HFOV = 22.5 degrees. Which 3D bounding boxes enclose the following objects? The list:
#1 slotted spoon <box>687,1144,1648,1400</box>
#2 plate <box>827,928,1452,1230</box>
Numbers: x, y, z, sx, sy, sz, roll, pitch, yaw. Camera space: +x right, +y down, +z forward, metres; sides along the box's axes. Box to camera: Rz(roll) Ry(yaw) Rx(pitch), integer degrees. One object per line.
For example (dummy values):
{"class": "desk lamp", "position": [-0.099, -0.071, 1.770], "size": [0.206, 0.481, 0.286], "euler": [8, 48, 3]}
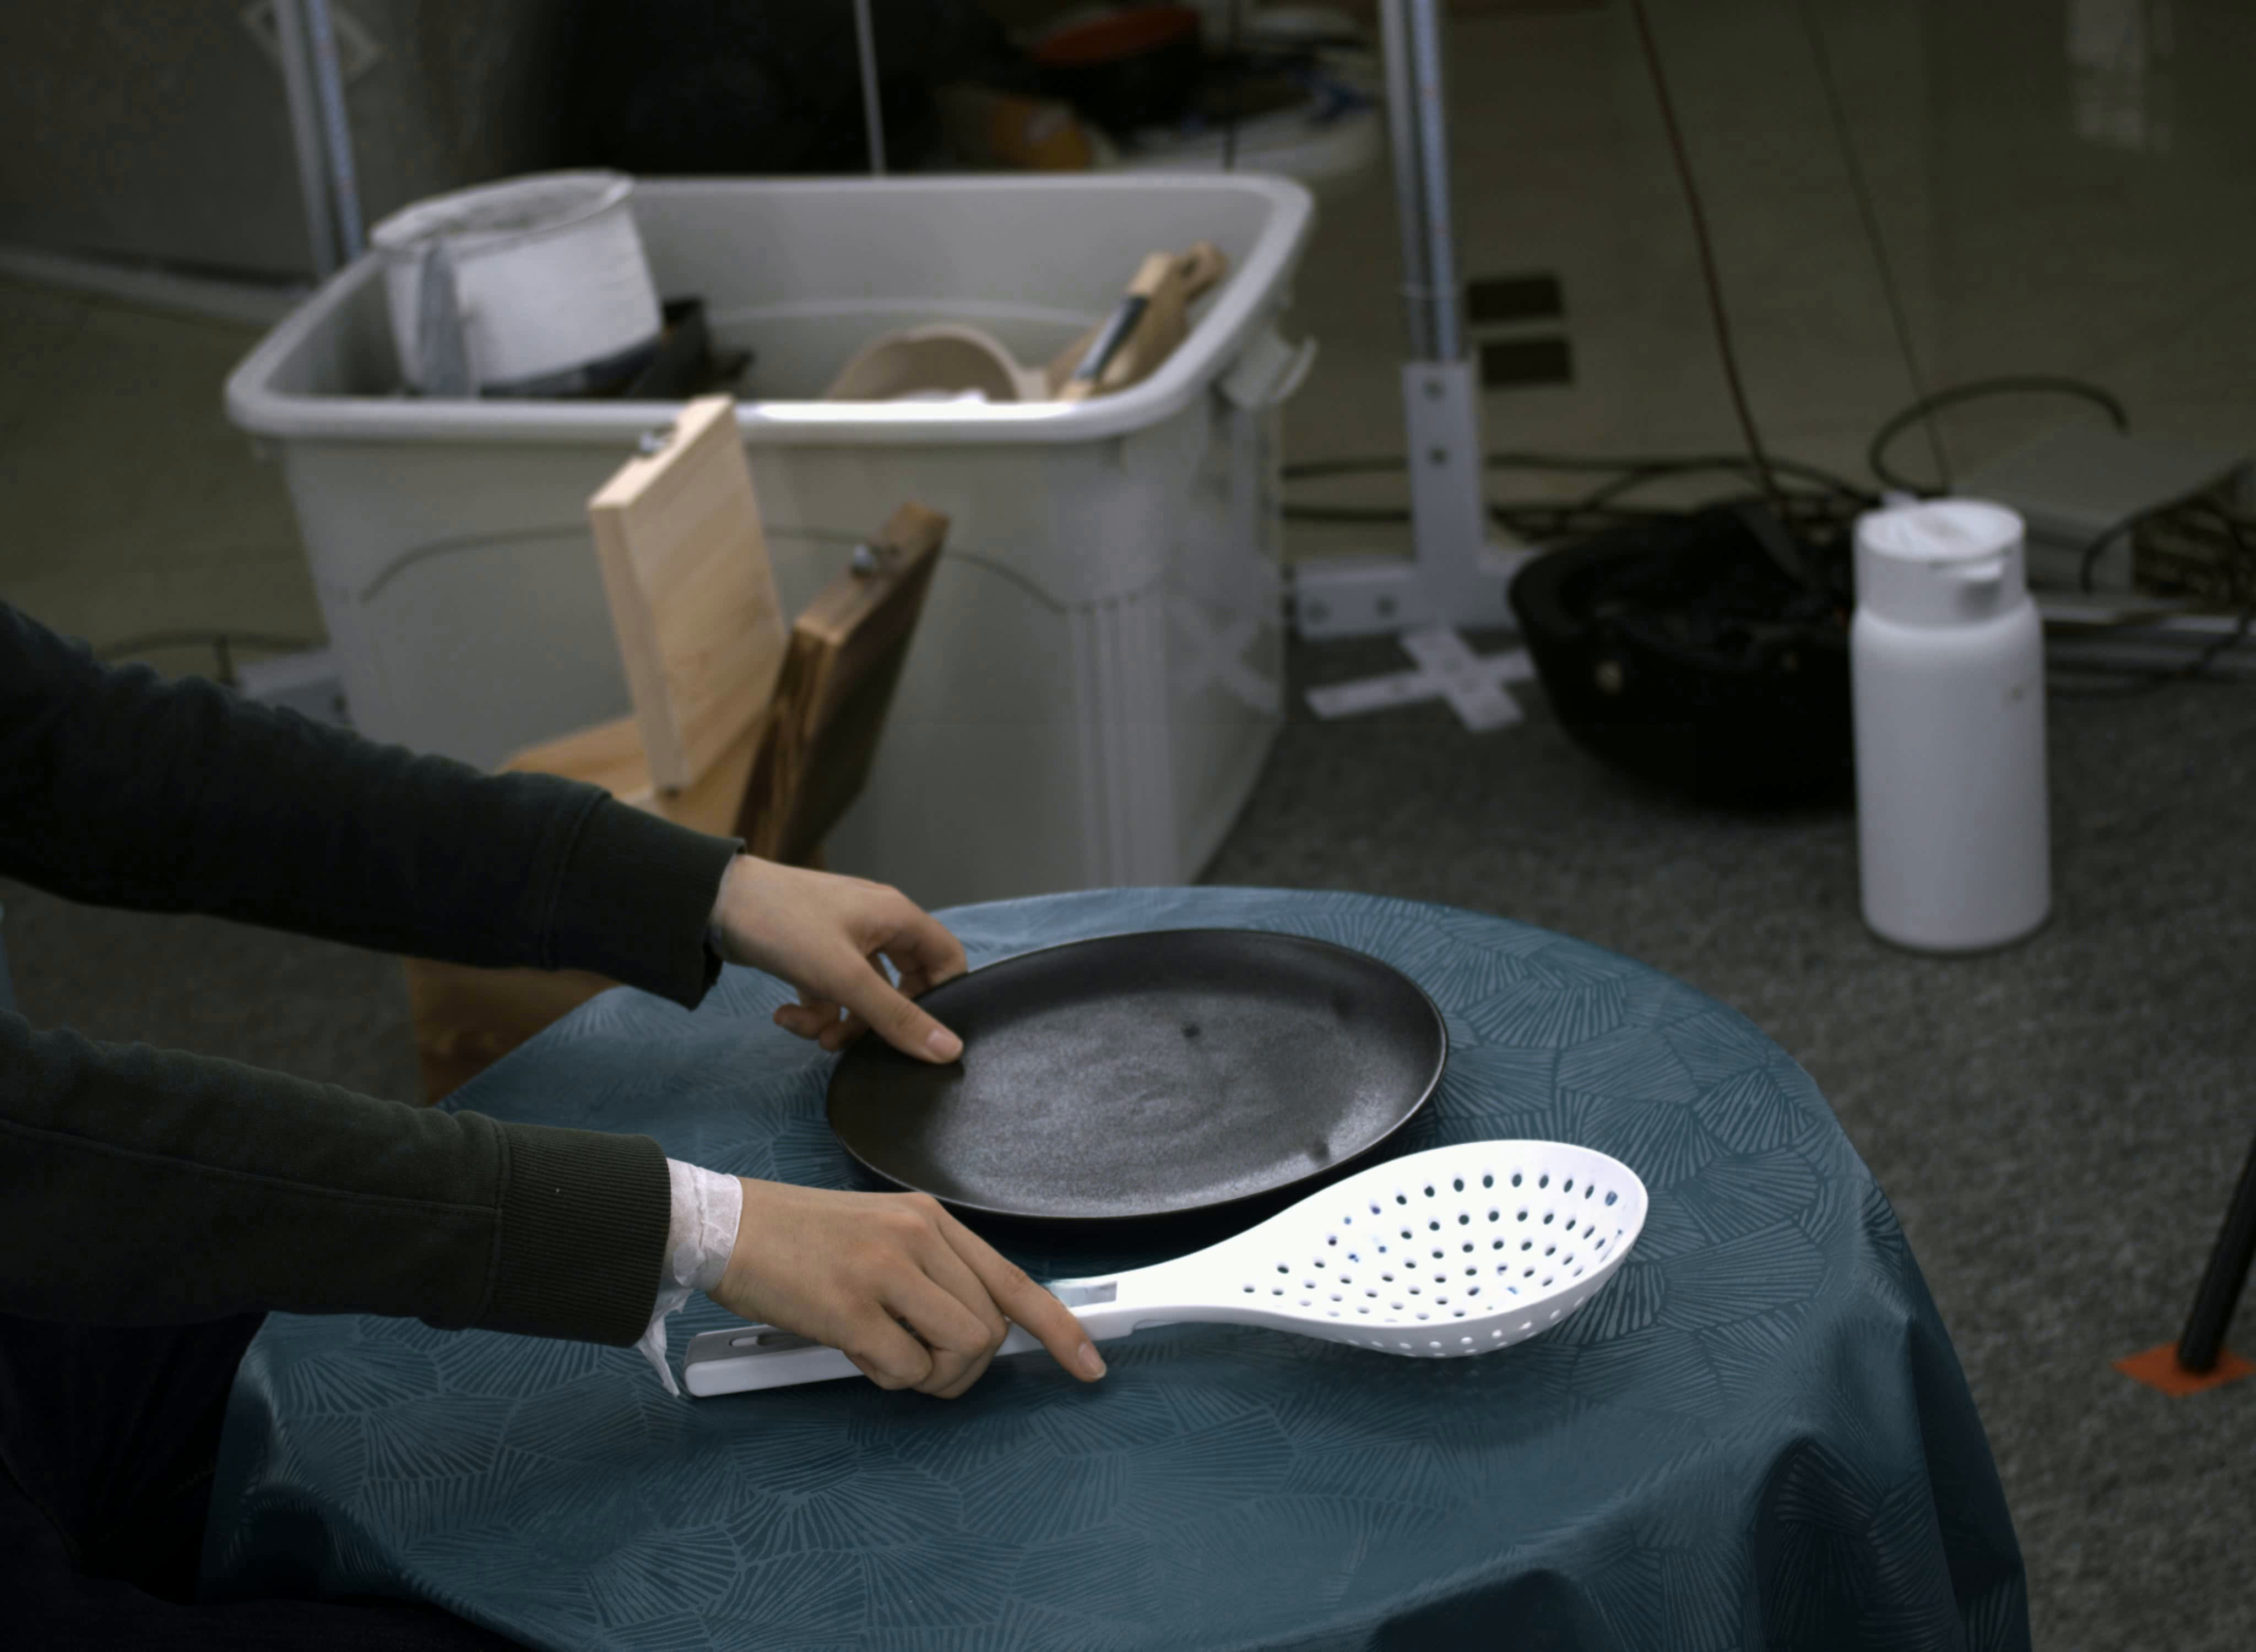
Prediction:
{"class": "slotted spoon", "position": [0.013, 0.169, 2.032], "size": [0.349, 0.046, 0.134], "euler": [-5, 22, 5]}
{"class": "plate", "position": [0.005, 0.103, 2.201], "size": [0.244, 0.024, 0.241], "euler": [-6, 25, 3]}
